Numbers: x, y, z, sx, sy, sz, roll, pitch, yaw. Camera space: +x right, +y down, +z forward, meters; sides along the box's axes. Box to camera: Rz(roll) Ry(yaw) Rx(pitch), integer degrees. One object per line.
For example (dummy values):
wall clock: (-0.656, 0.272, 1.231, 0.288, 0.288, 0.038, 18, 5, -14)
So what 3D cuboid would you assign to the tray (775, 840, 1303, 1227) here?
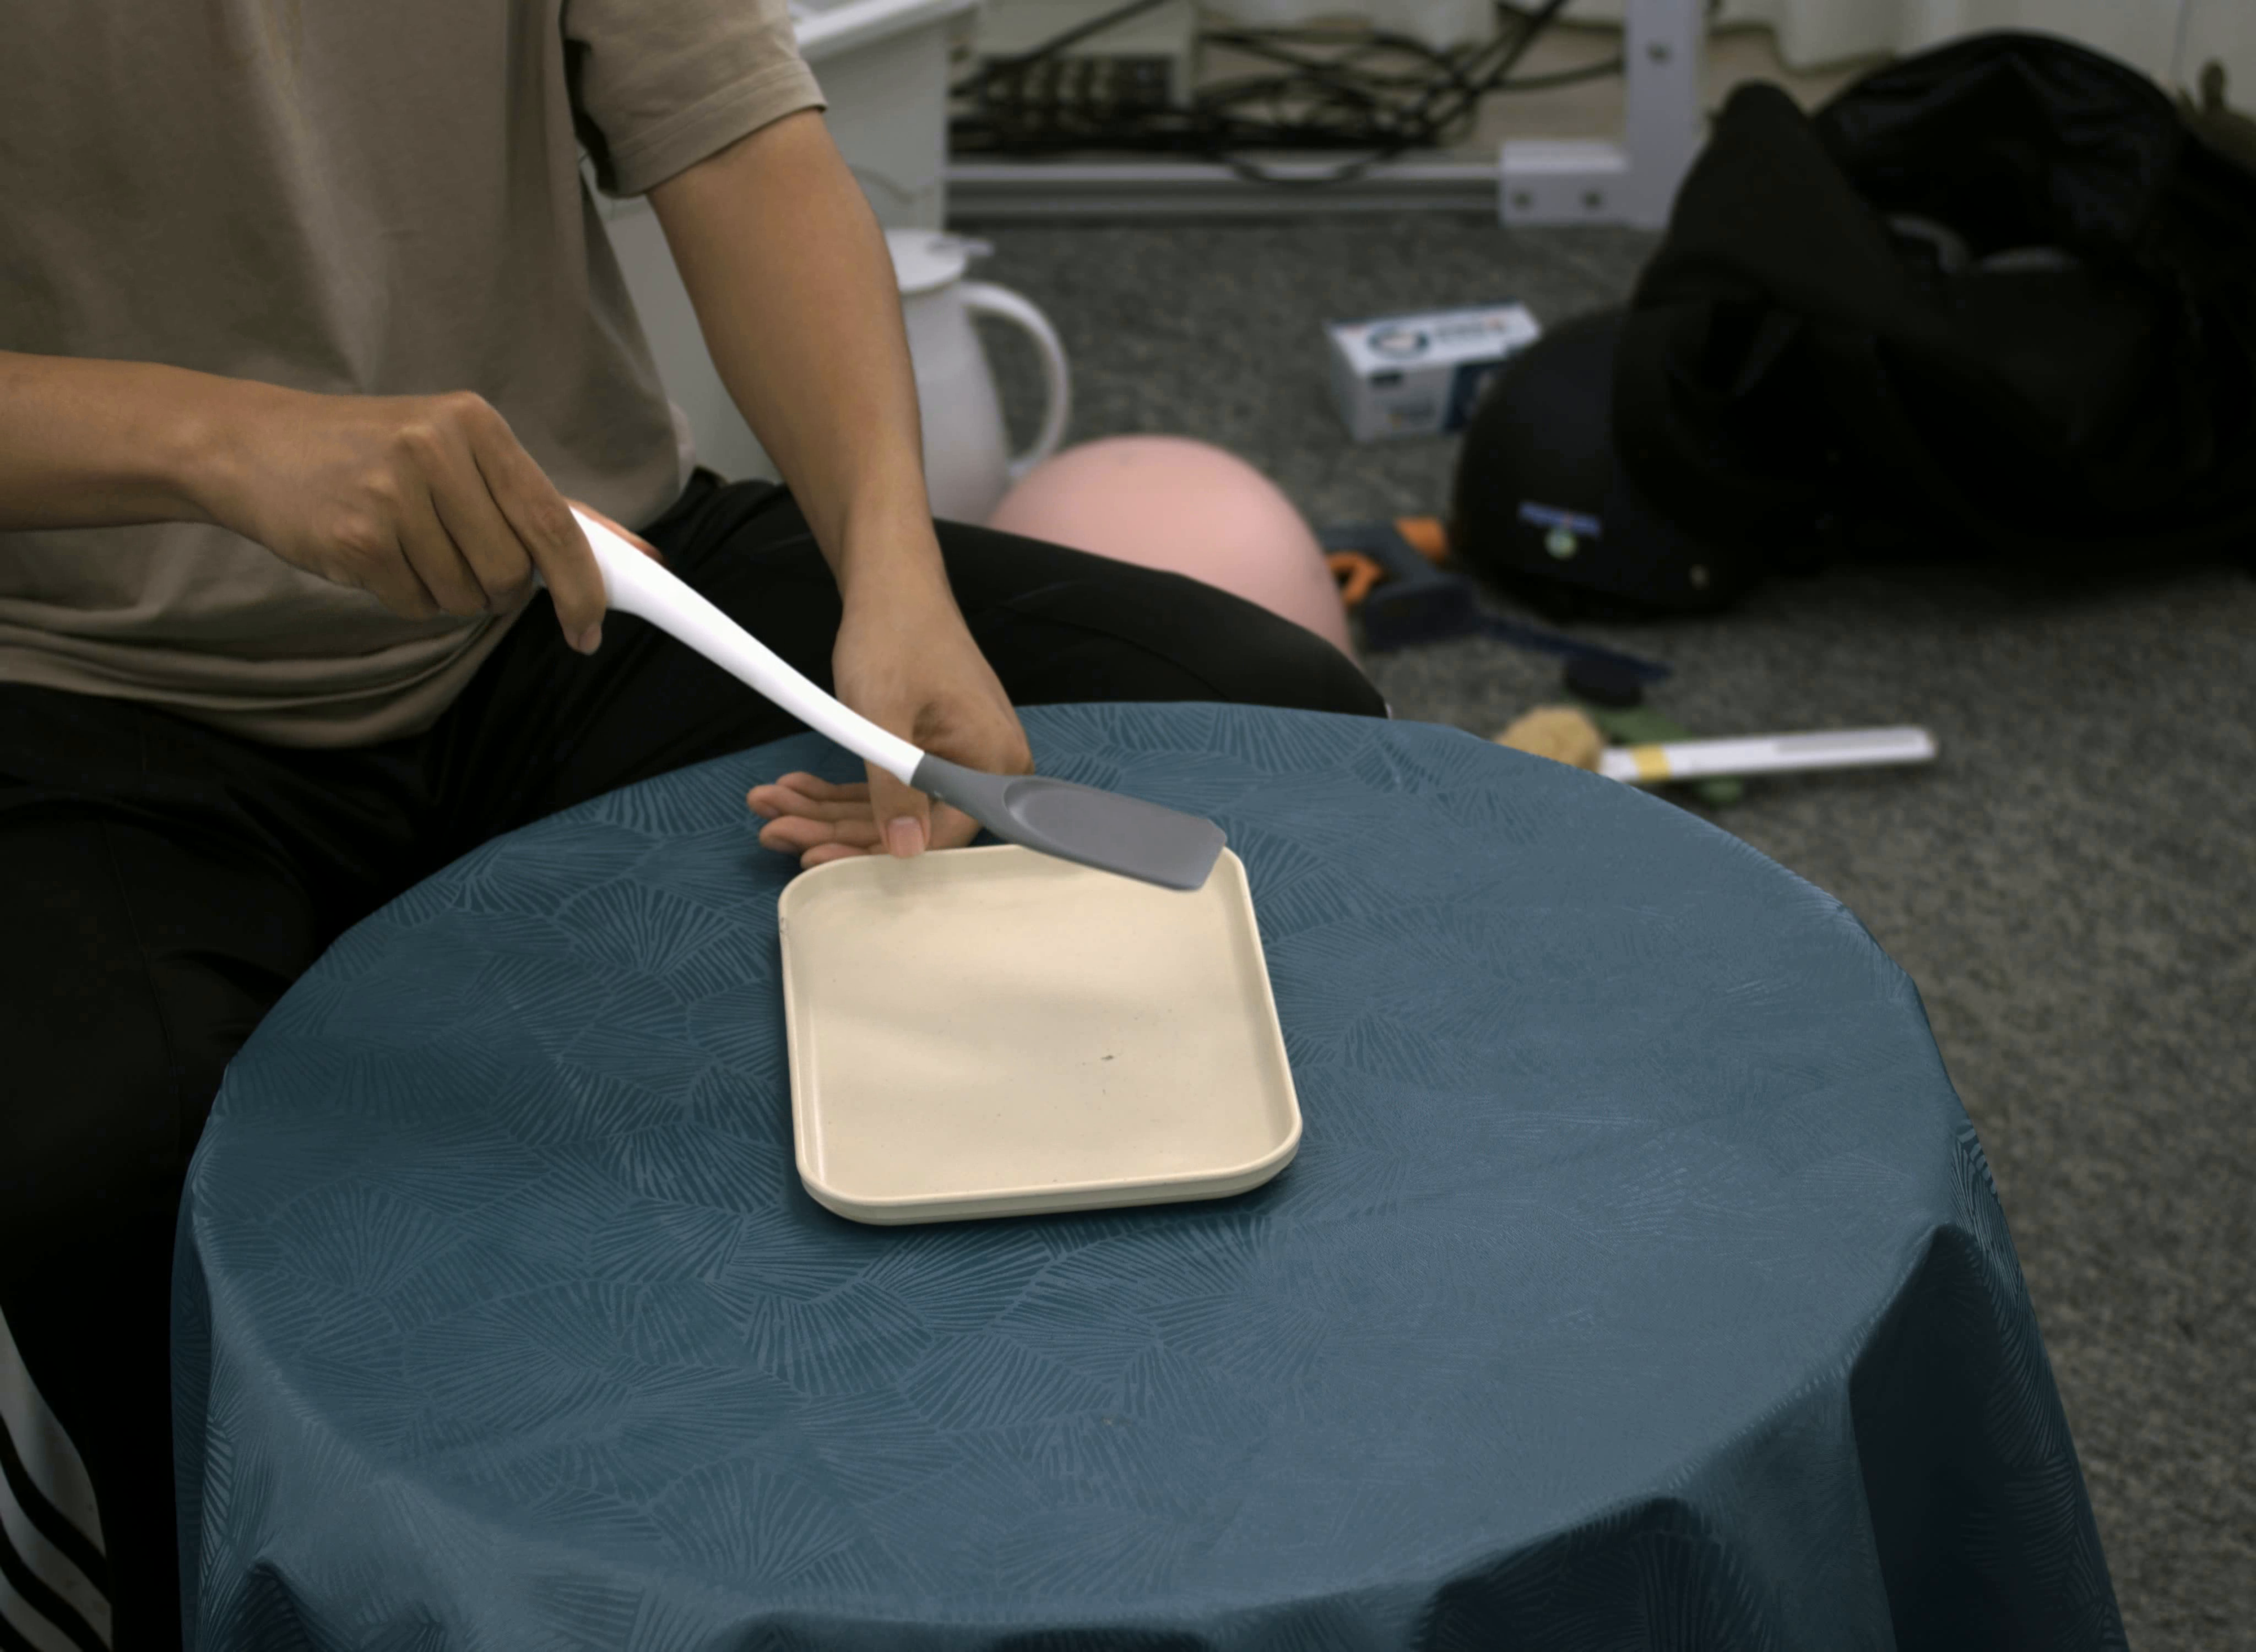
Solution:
tray: (-0.034, 0.071, 1.944, 0.171, 0.017, 0.243, -4, 27, -4)

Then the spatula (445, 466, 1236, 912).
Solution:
spatula: (-0.097, -0.042, 1.900, 0.287, 0.032, 0.059, 28, 25, 1)
